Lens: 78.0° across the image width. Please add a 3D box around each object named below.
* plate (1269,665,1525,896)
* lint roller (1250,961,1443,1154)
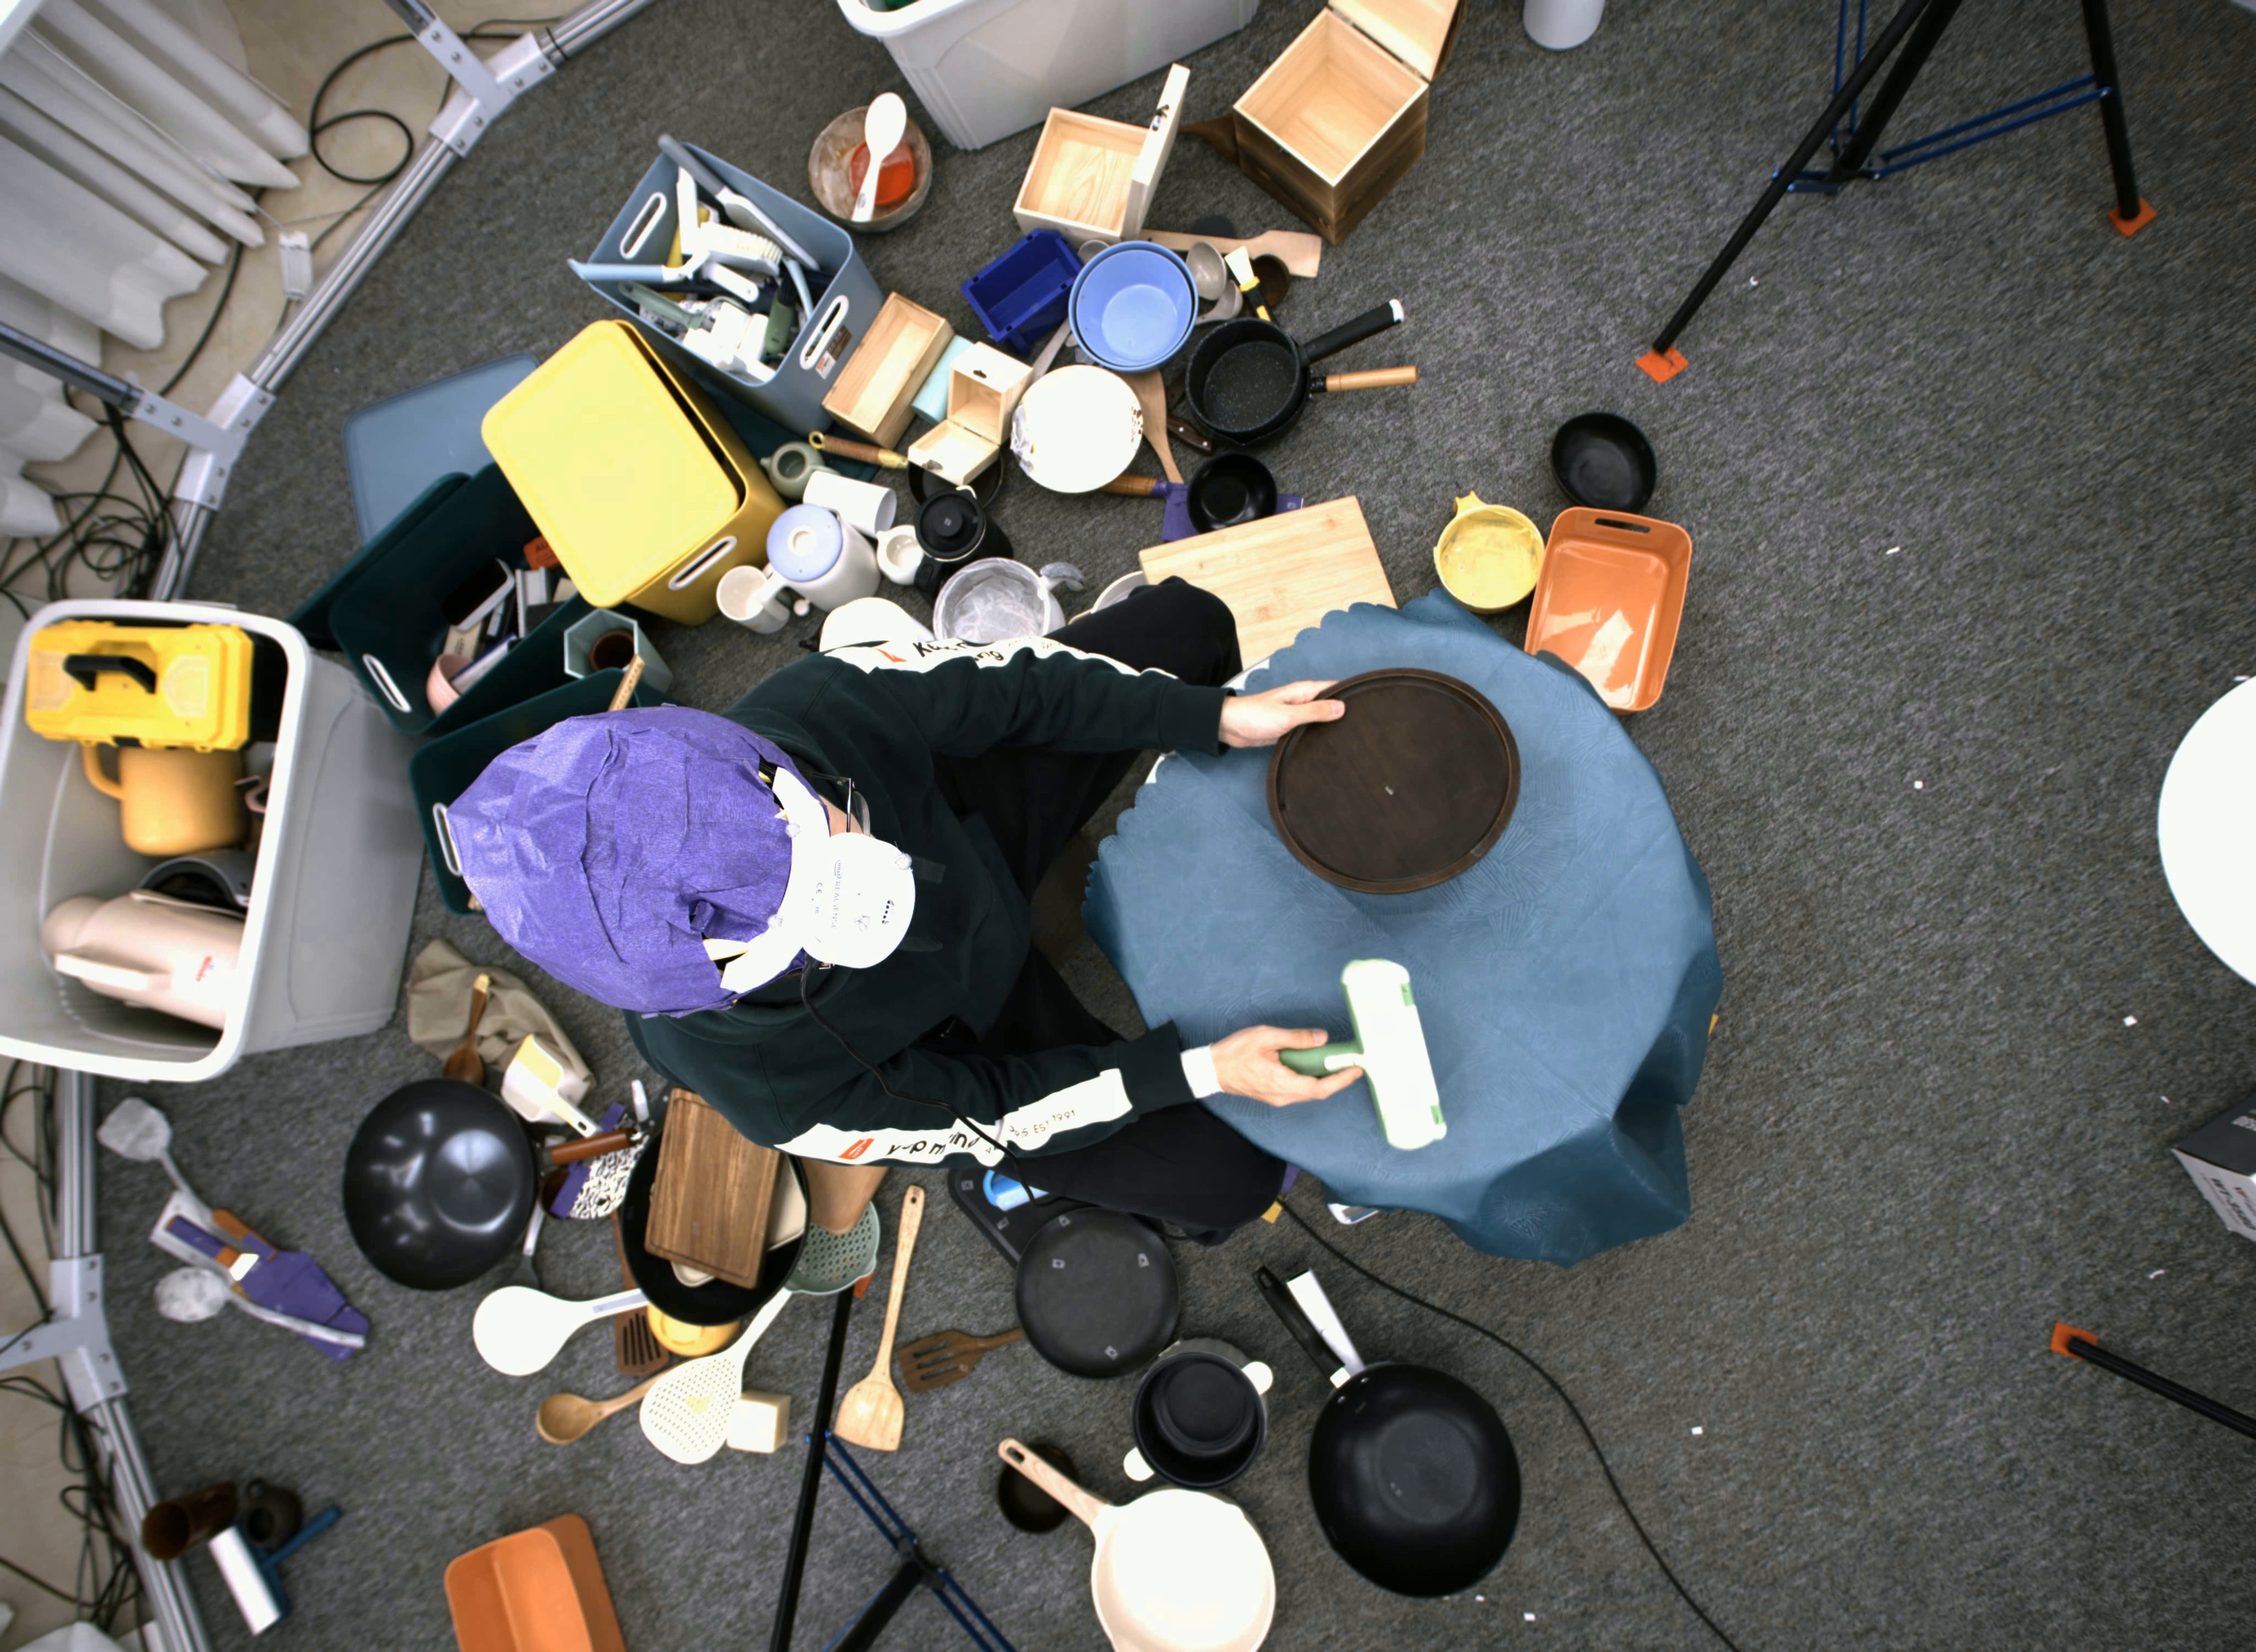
[{"bbox_3d":[0.267,-0.048,1.376,0.256,0.029,0.250,-6,69,15],"label":"plate"},{"bbox_3d":[0.208,0.240,1.381,0.184,0.080,0.201,-10,107,16],"label":"lint roller"}]
